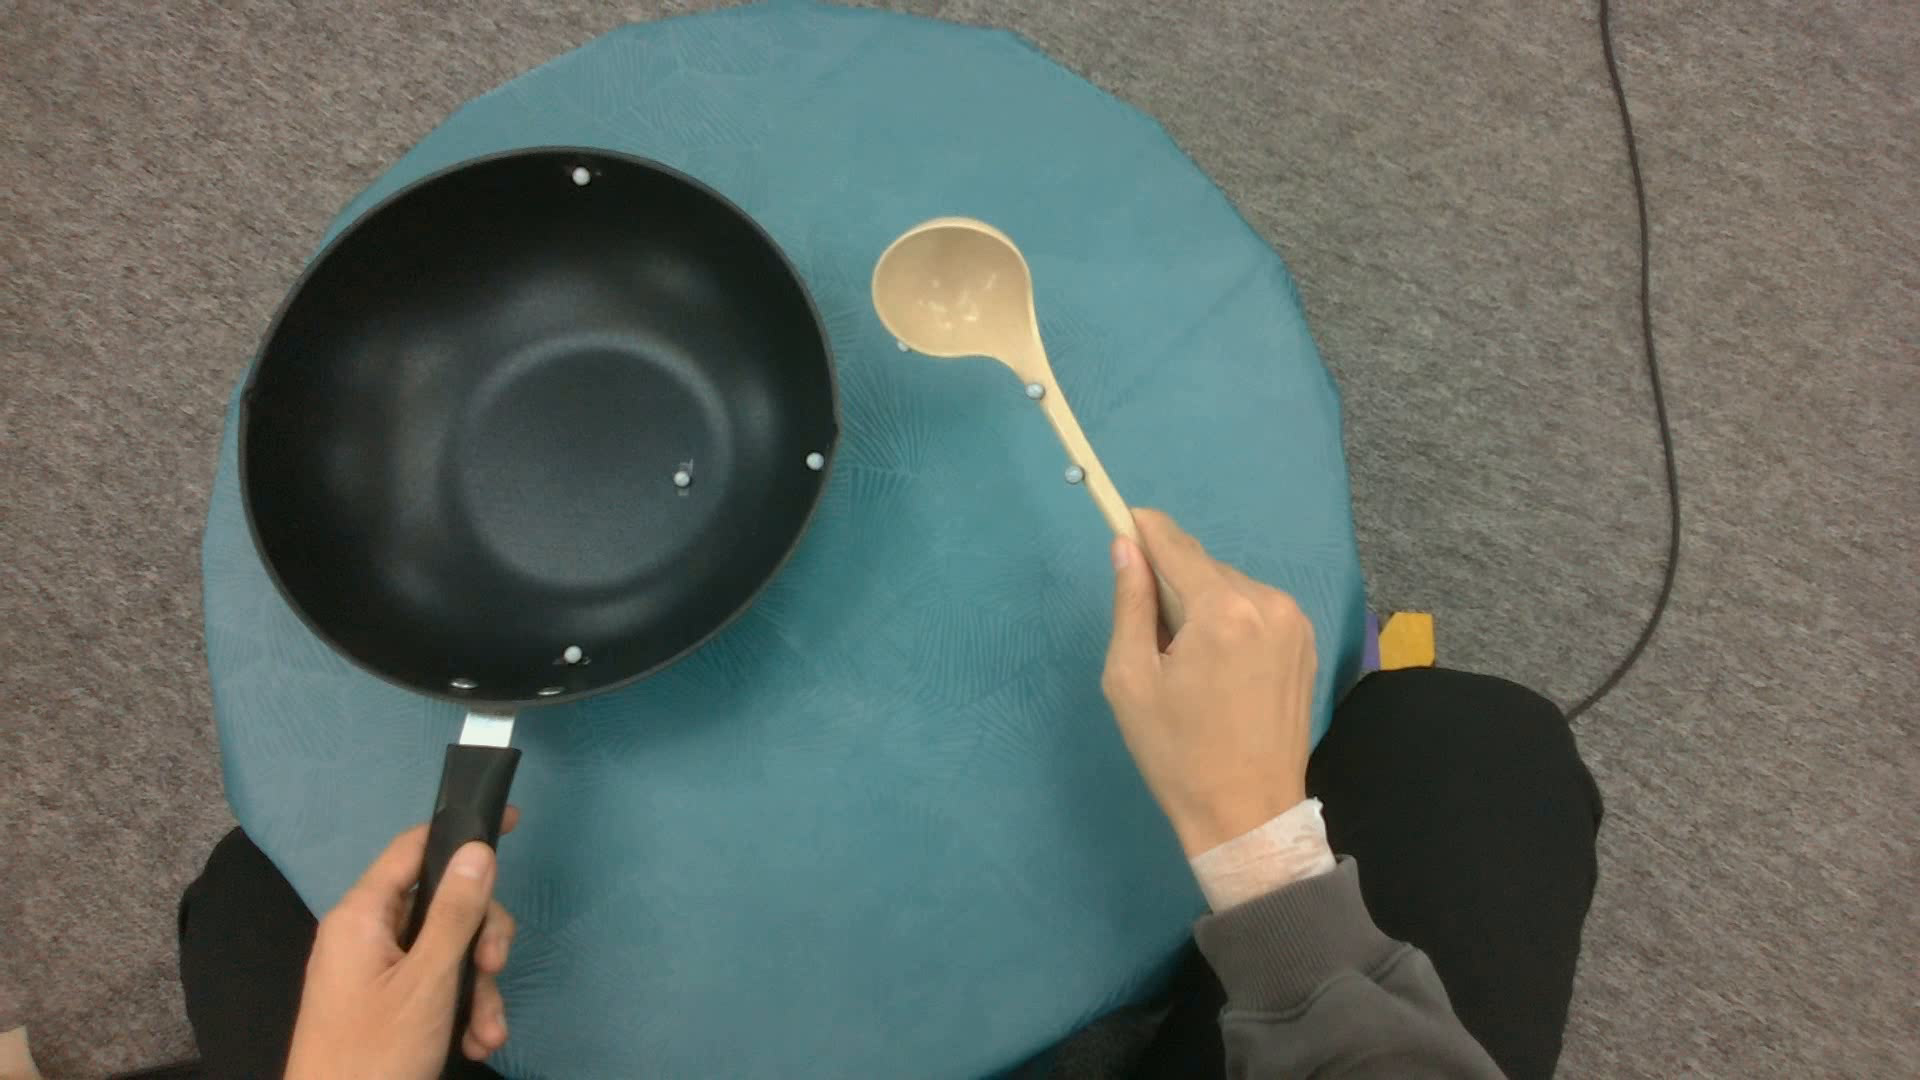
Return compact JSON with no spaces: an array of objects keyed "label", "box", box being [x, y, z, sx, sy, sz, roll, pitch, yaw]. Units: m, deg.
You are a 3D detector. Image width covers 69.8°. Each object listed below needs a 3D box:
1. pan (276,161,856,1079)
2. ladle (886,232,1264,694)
[{"label":"pan","box":[-0.200,0.040,0.679,0.288,0.086,0.464,5,76,4]},{"label":"ladle","box":[0.046,-0.037,0.614,0.072,0.073,0.255,-45,60,25]}]
